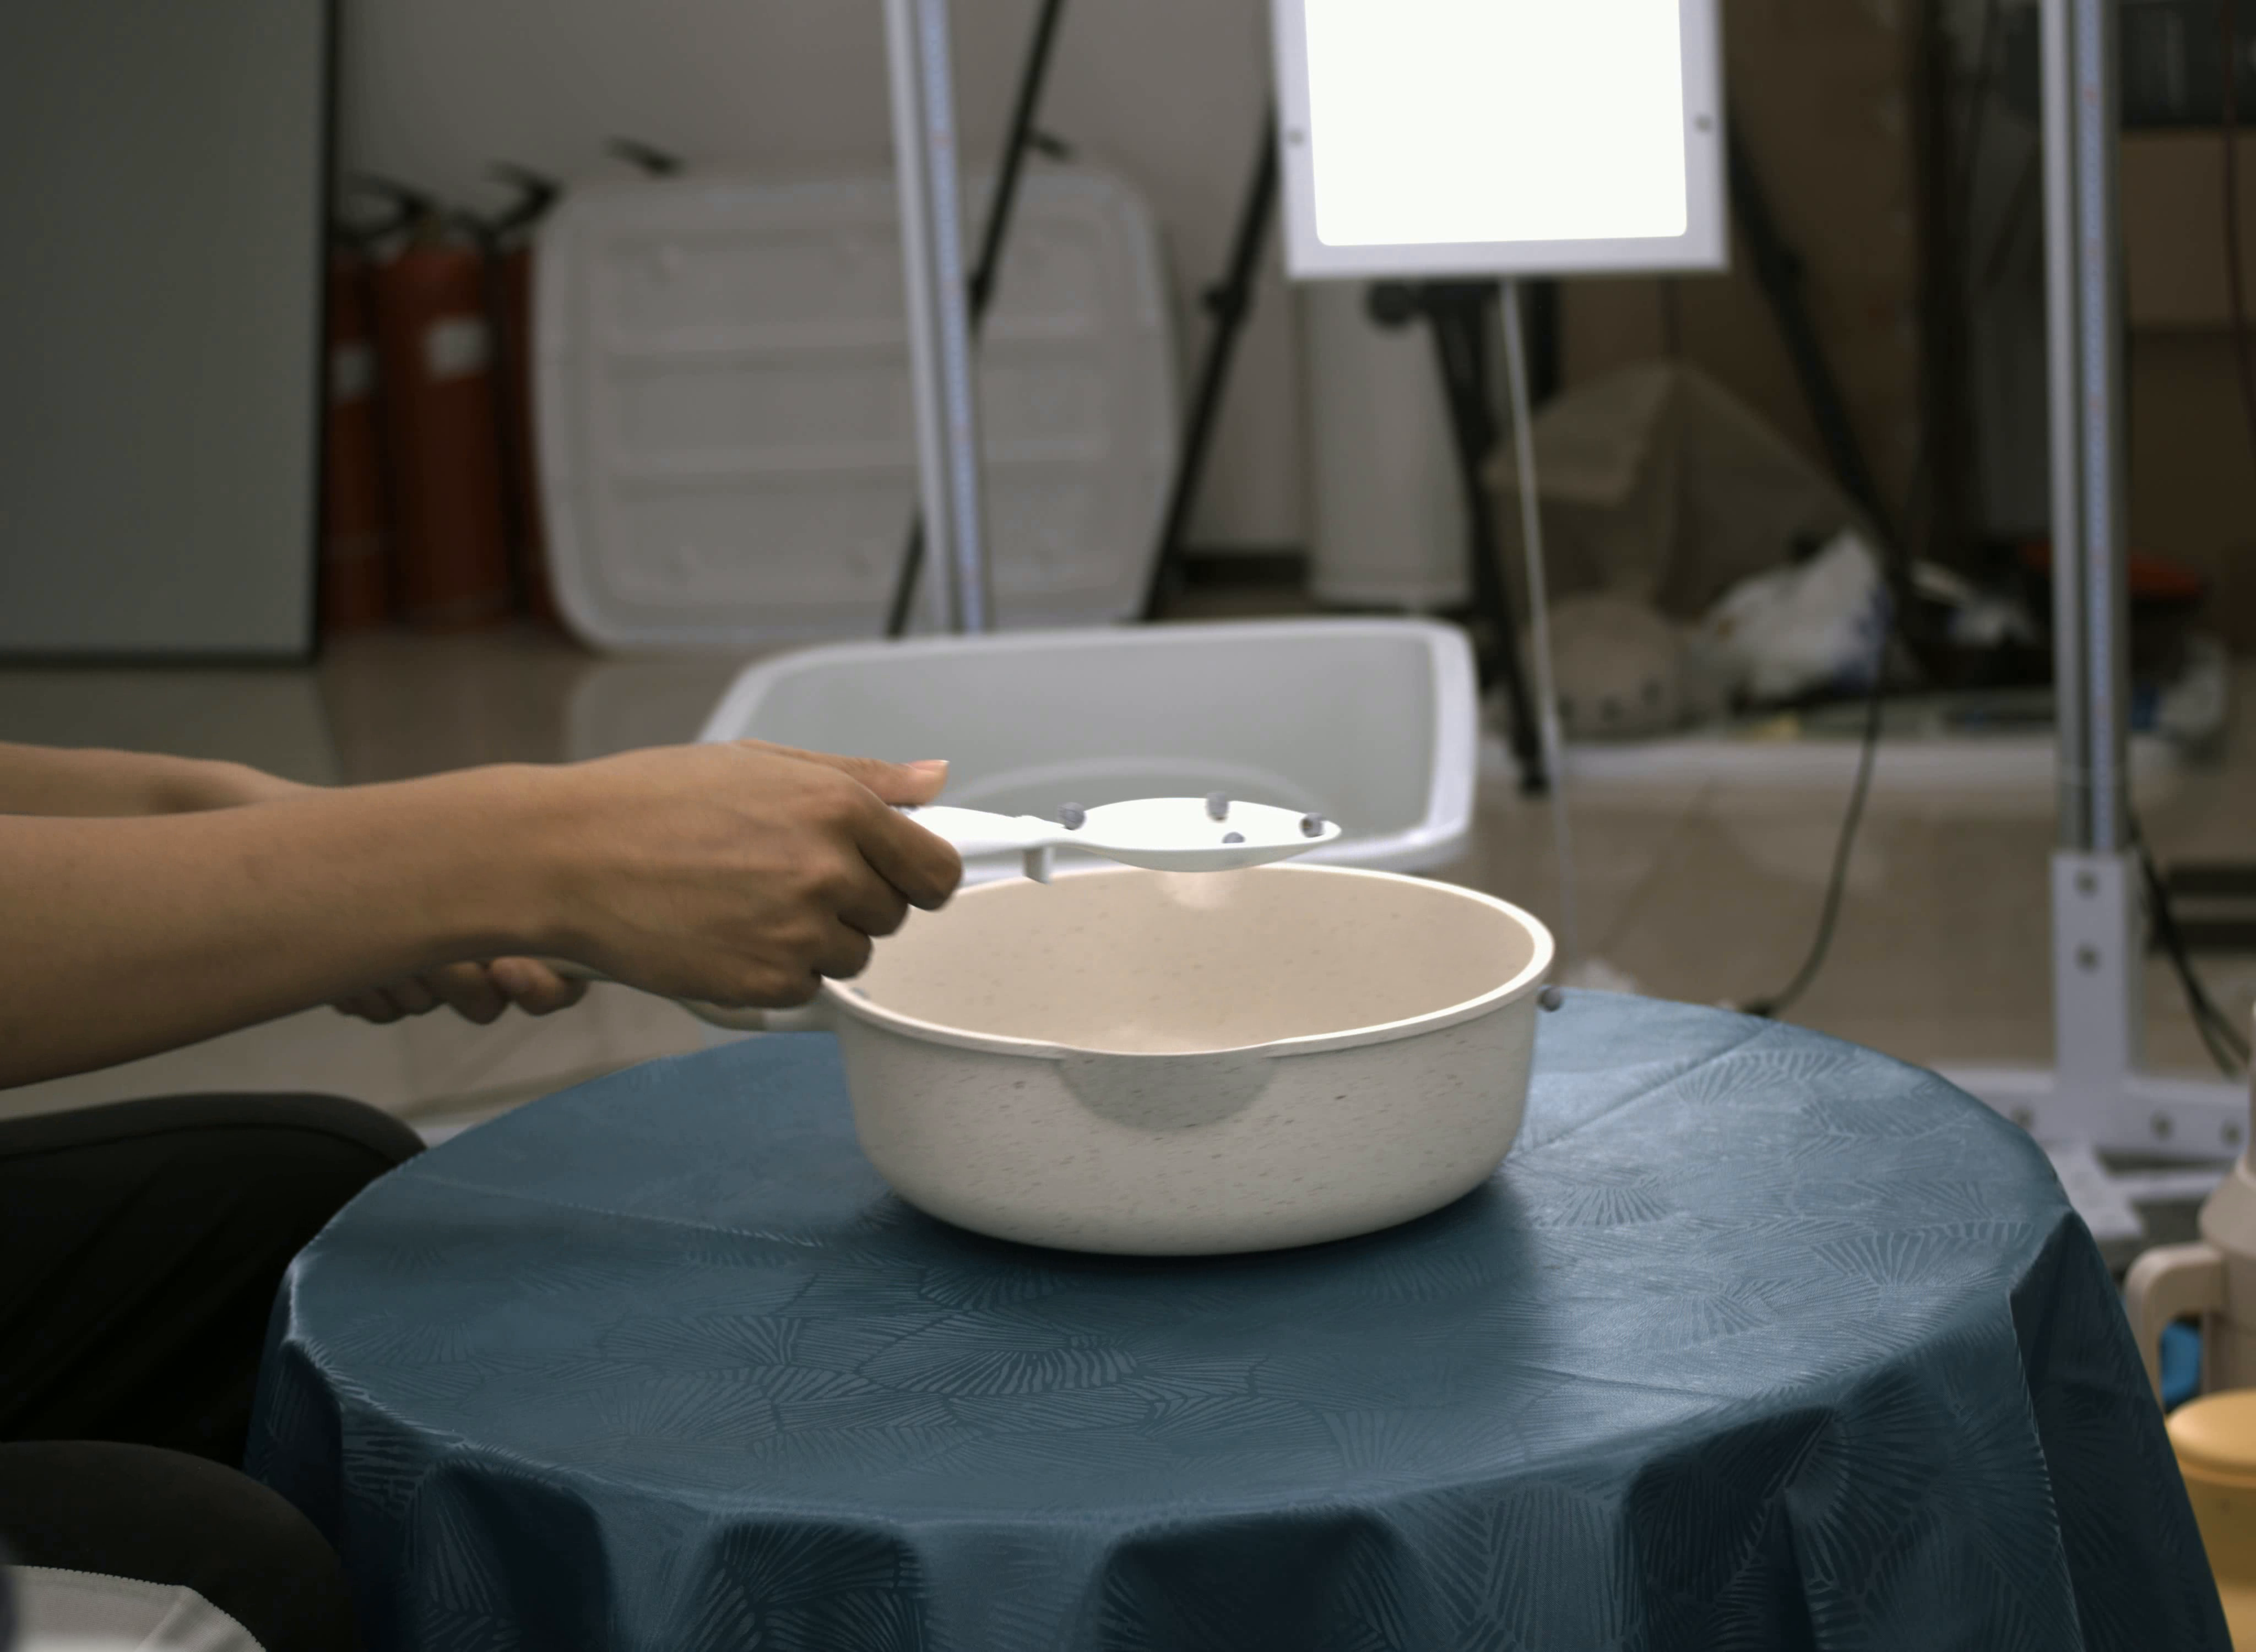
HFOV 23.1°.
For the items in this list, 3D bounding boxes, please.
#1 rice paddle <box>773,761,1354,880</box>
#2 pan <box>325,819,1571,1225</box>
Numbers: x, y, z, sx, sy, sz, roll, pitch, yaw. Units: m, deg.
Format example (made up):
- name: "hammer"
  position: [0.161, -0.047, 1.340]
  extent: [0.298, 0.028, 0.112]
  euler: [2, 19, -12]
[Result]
- name: "rice paddle"
  position: [-0.016, -0.008, 1.730]
  extent: [0.200, 0.029, 0.070]
  euler: [-6, 17, -31]
- name: "pan"
  position: [-0.061, 0.066, 1.923]
  extent: [0.436, 0.102, 0.261]
  euler: [-2, 15, 6]
